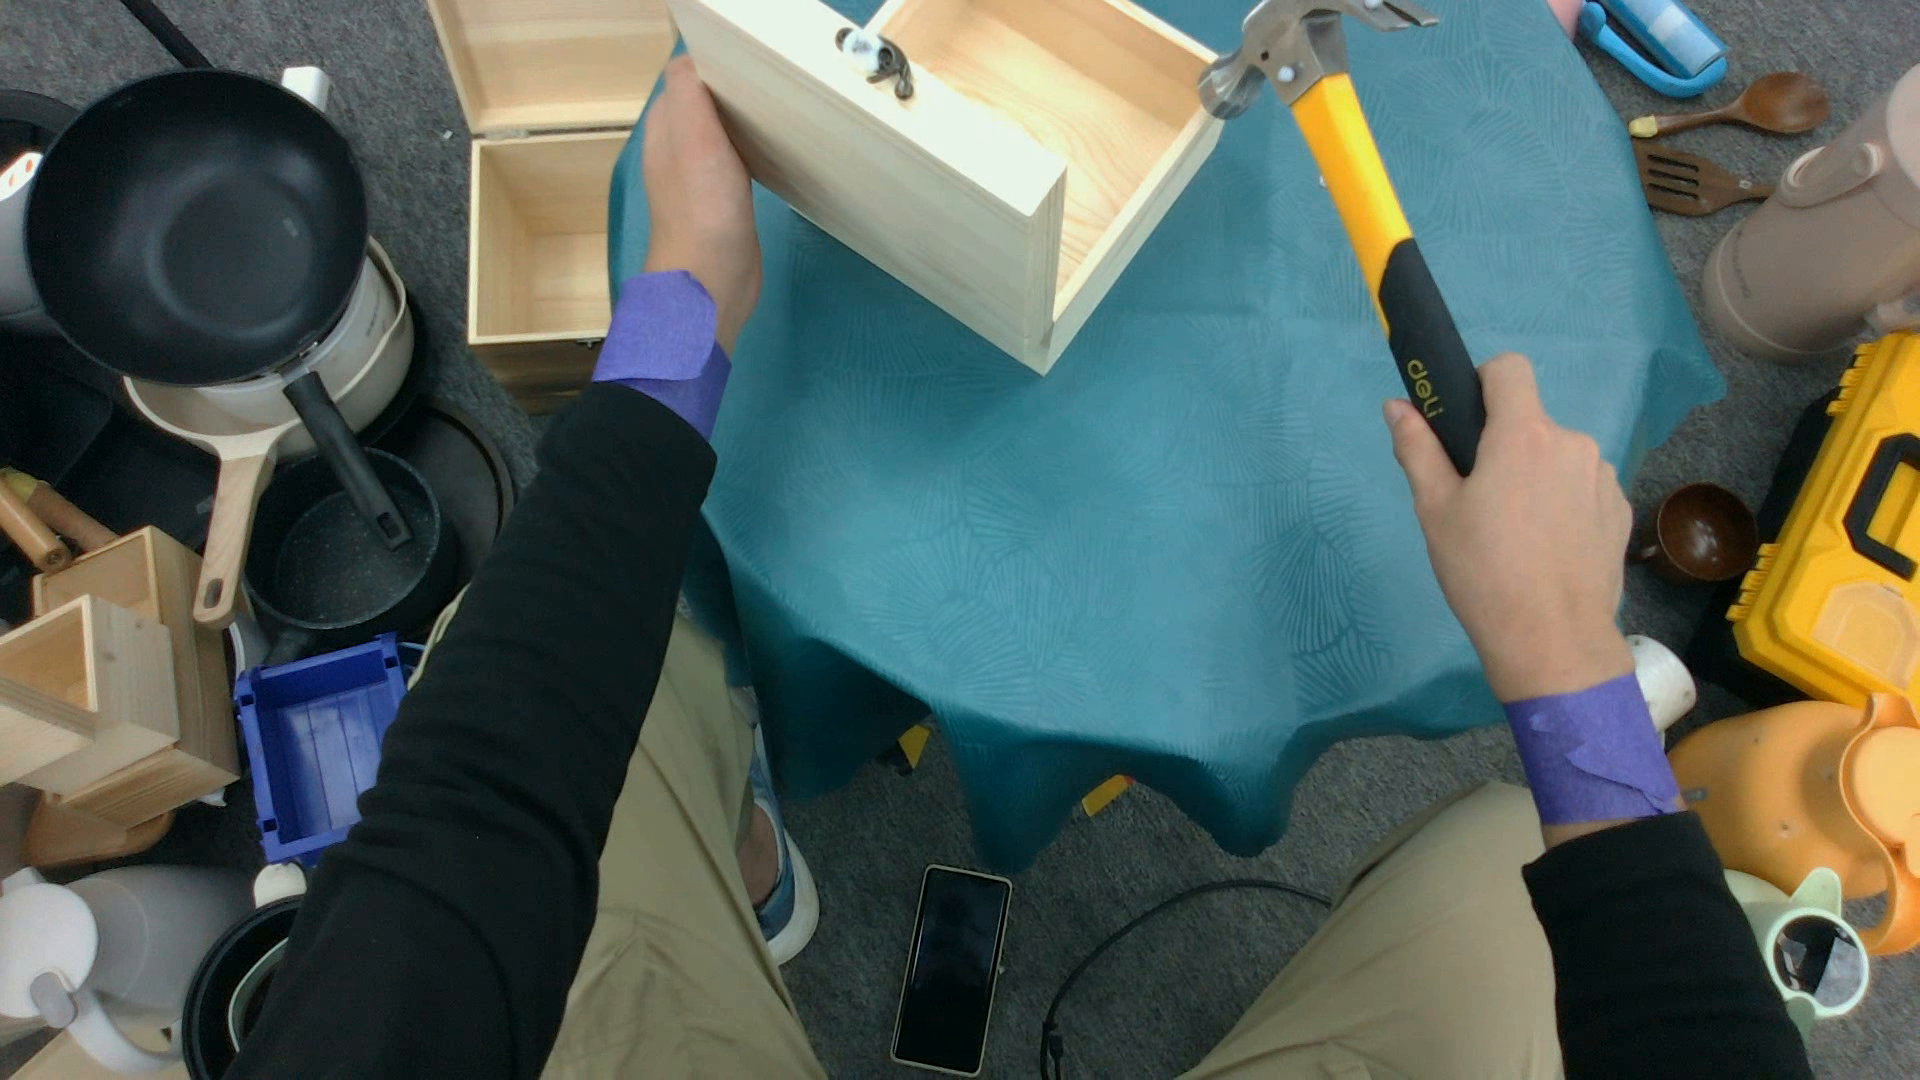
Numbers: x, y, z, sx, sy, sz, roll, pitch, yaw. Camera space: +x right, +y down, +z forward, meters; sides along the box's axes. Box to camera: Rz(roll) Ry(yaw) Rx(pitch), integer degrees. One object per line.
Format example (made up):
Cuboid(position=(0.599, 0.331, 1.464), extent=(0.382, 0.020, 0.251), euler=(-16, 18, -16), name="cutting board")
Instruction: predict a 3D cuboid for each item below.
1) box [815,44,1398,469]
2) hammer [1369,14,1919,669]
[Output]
Cuboid(position=(0.096, -0.163, 0.688), extent=(0.181, 0.252, 0.266), euler=(23, 75, 17), name="box")
Cuboid(position=(0.307, -0.091, 0.608), extent=(0.032, 0.131, 0.339), euler=(-26, 74, -16), name="hammer")
